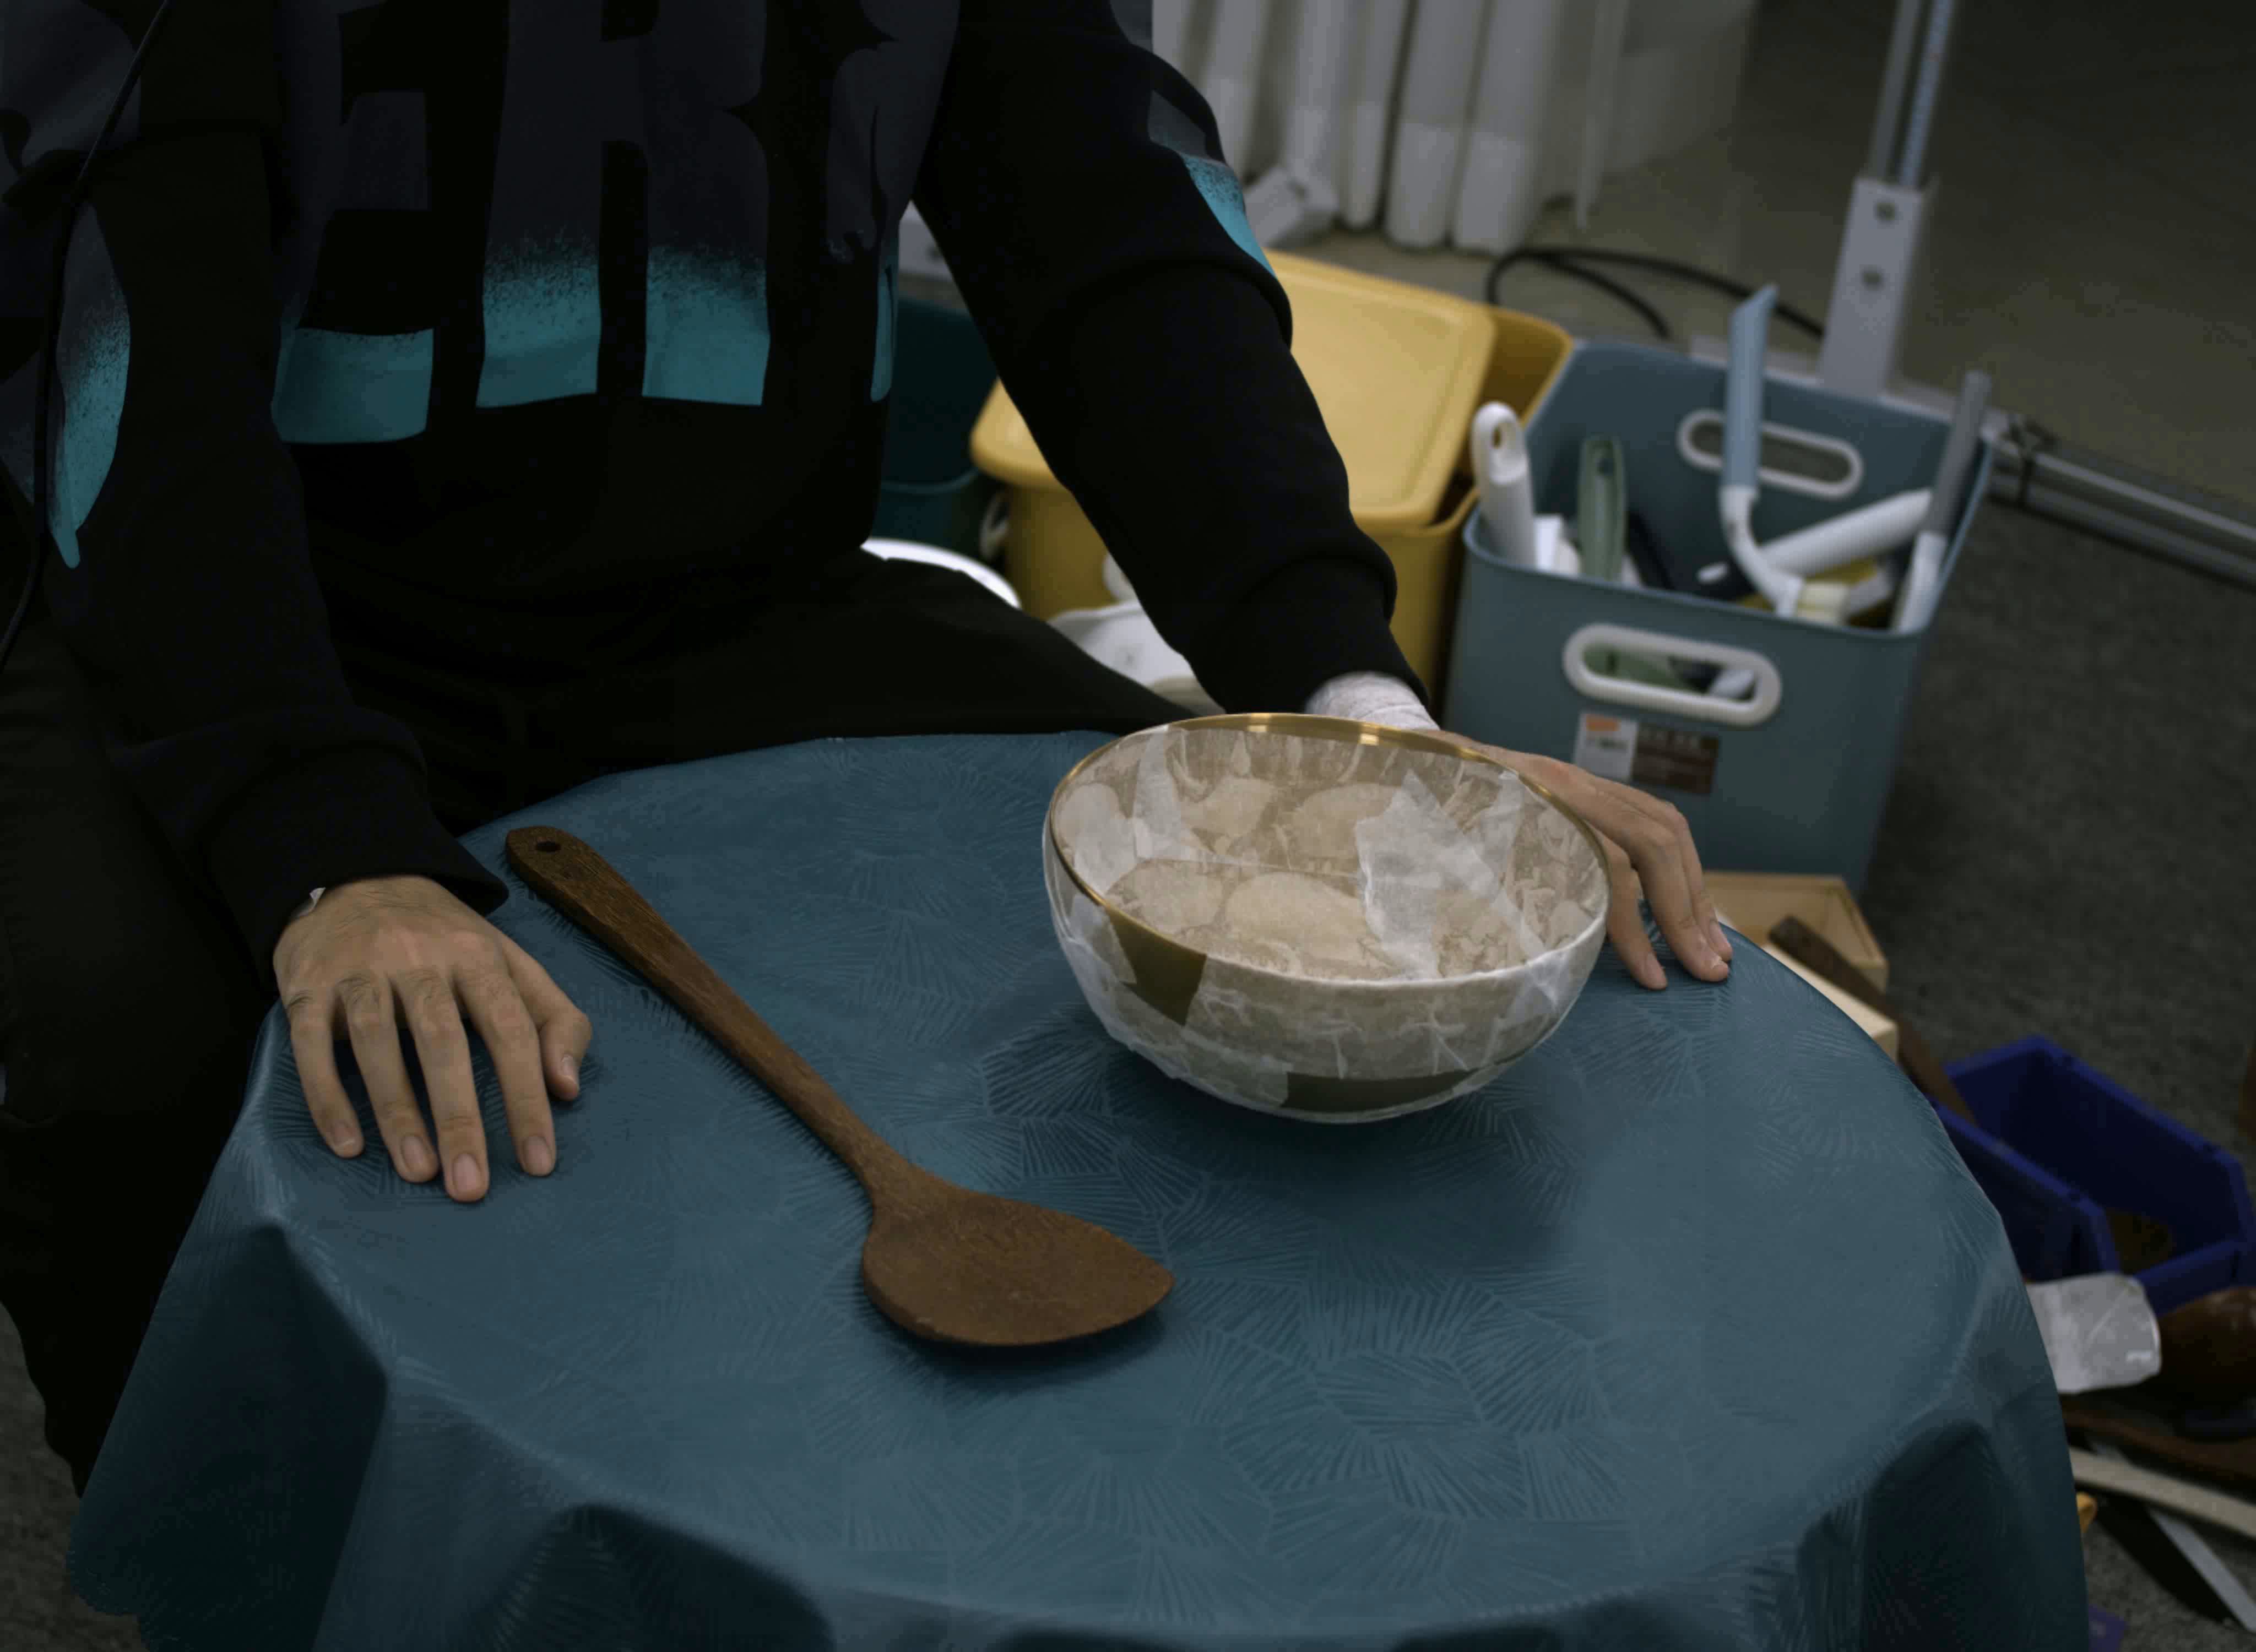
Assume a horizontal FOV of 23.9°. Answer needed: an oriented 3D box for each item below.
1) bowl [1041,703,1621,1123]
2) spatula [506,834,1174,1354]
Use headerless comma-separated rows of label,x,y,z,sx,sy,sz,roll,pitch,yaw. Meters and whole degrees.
bowl,0.068,0.043,1.872,0.214,0.094,0.216,4,27,-2
spatula,-0.120,0.084,1.836,0.095,0.016,0.389,-11,31,-32
